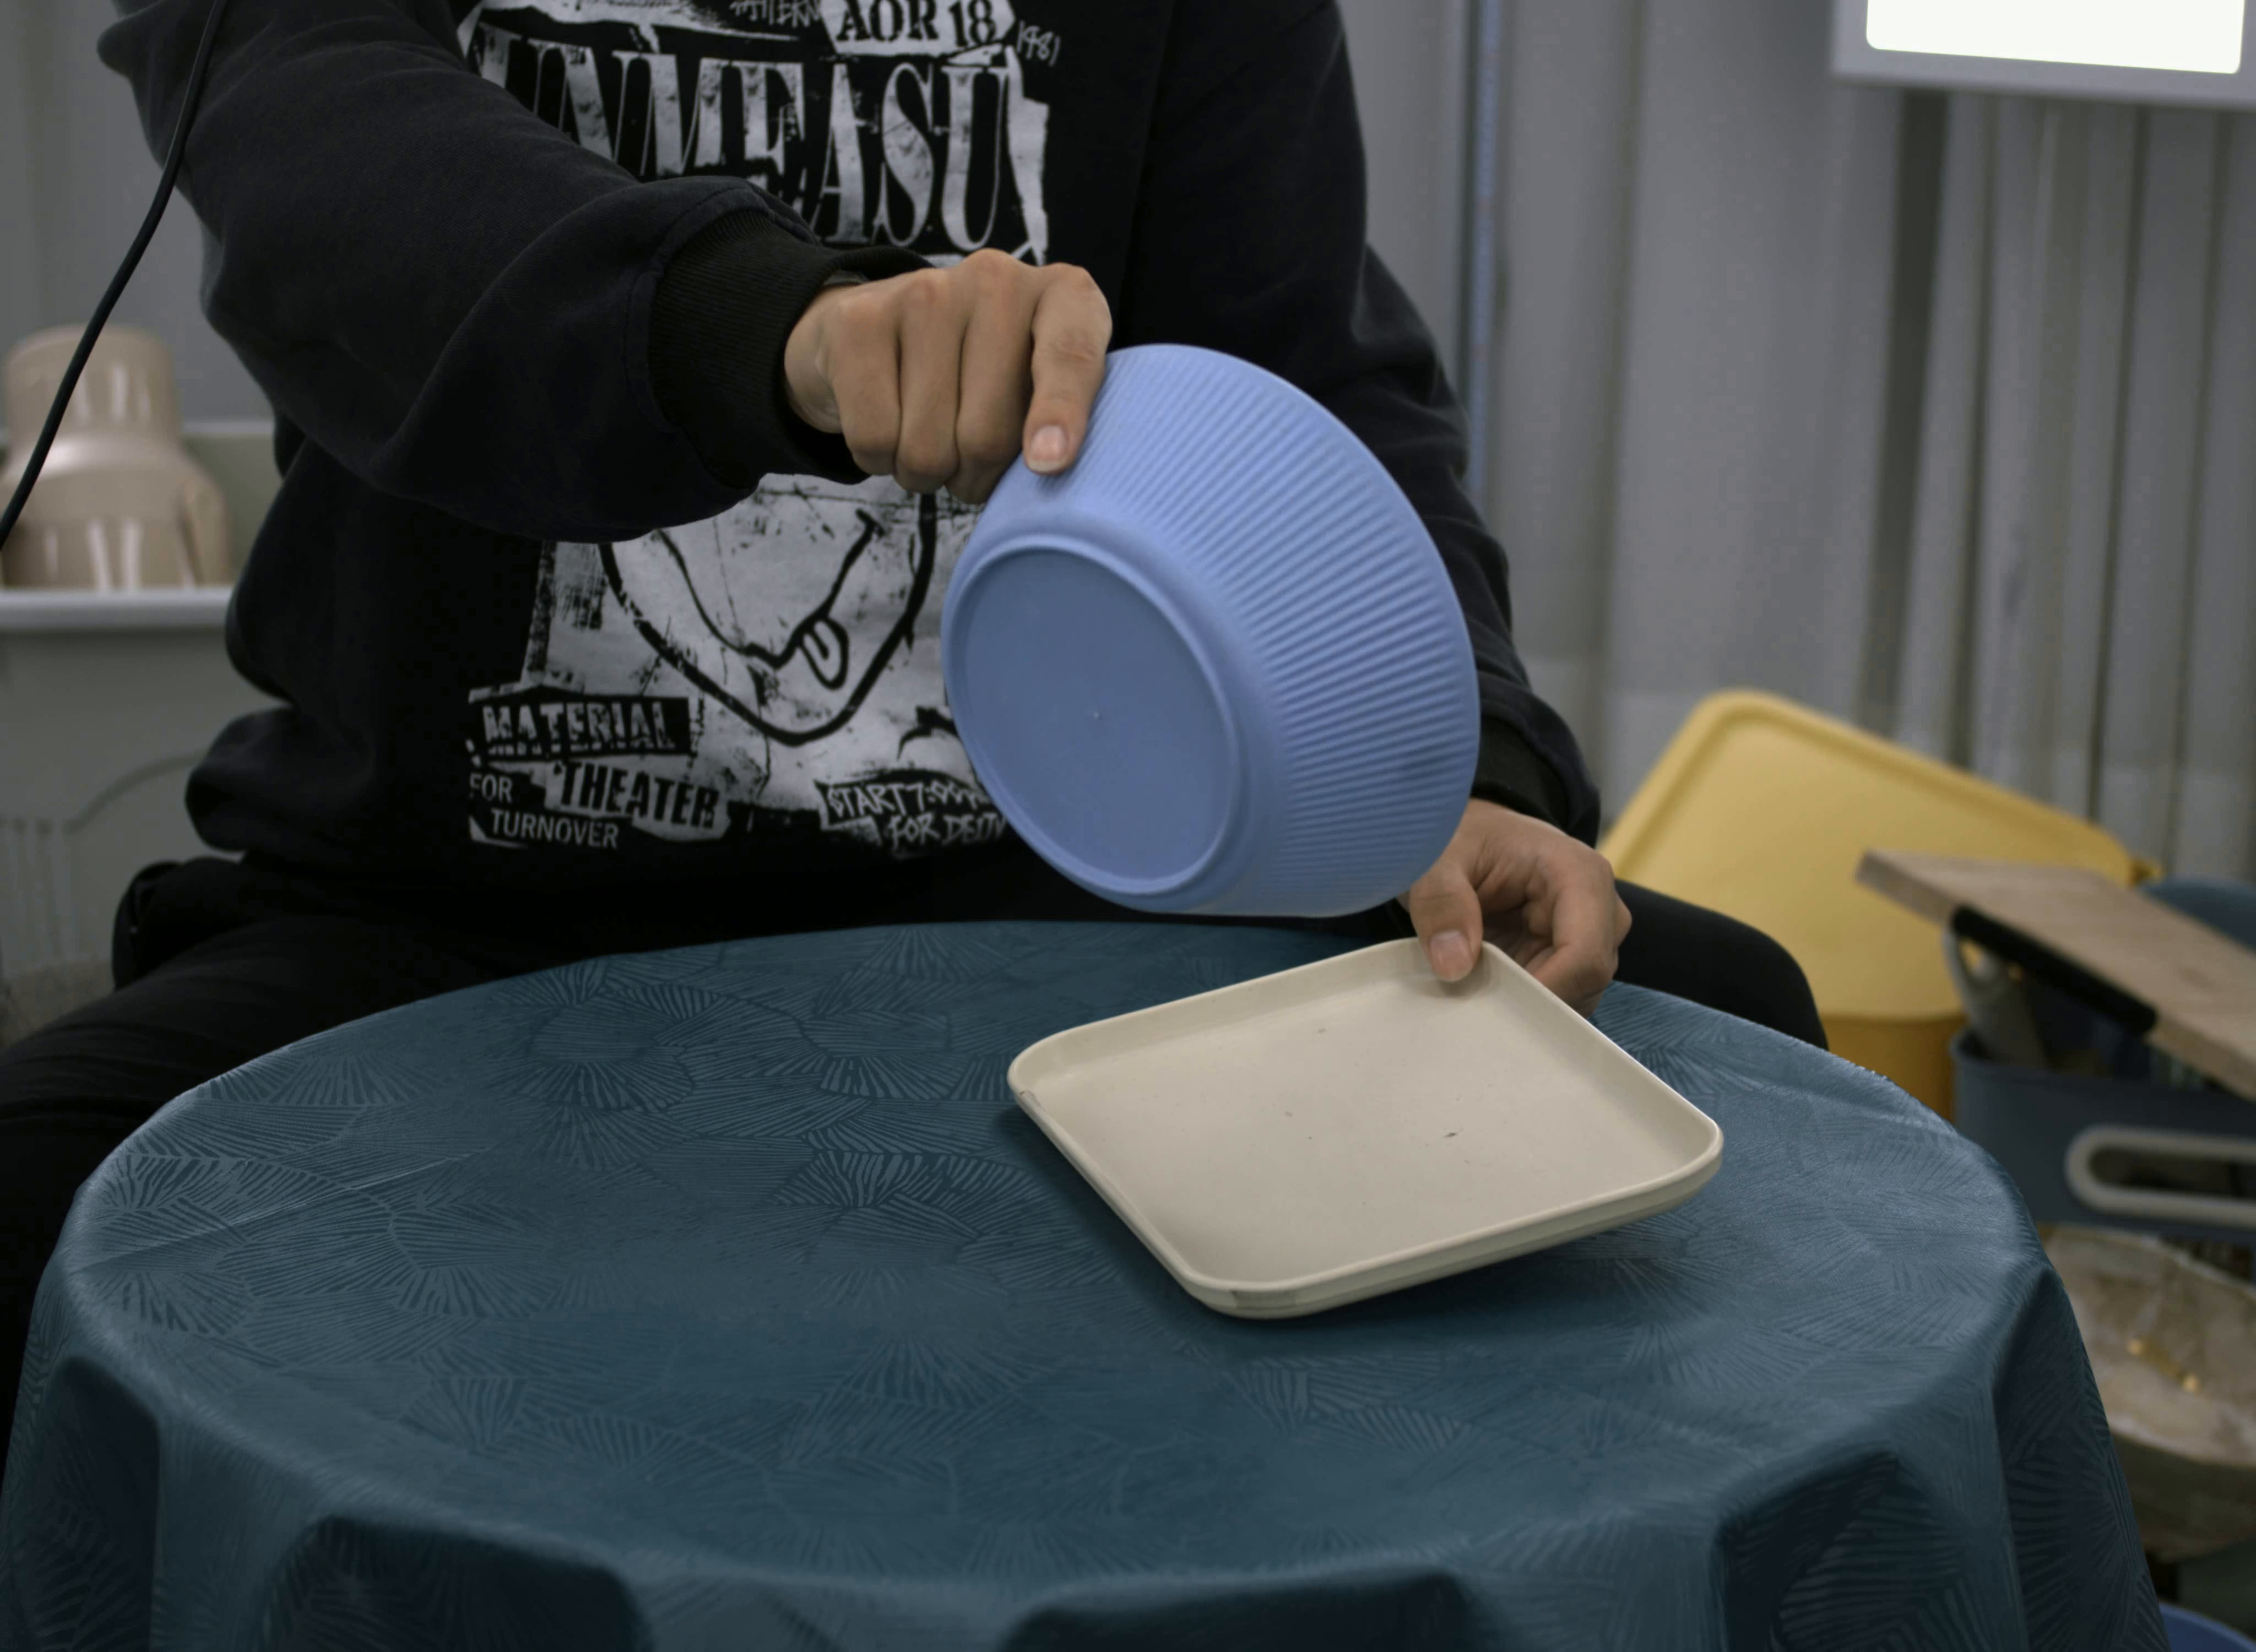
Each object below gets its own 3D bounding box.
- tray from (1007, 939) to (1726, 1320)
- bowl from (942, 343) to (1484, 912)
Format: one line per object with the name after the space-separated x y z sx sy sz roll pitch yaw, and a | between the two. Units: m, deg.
0.070 0.092 1.625 0.171 0.017 0.237 -14 20 -14 | tray
0.011 -0.043 1.487 0.174 0.178 0.070 14 34 38 | bowl
